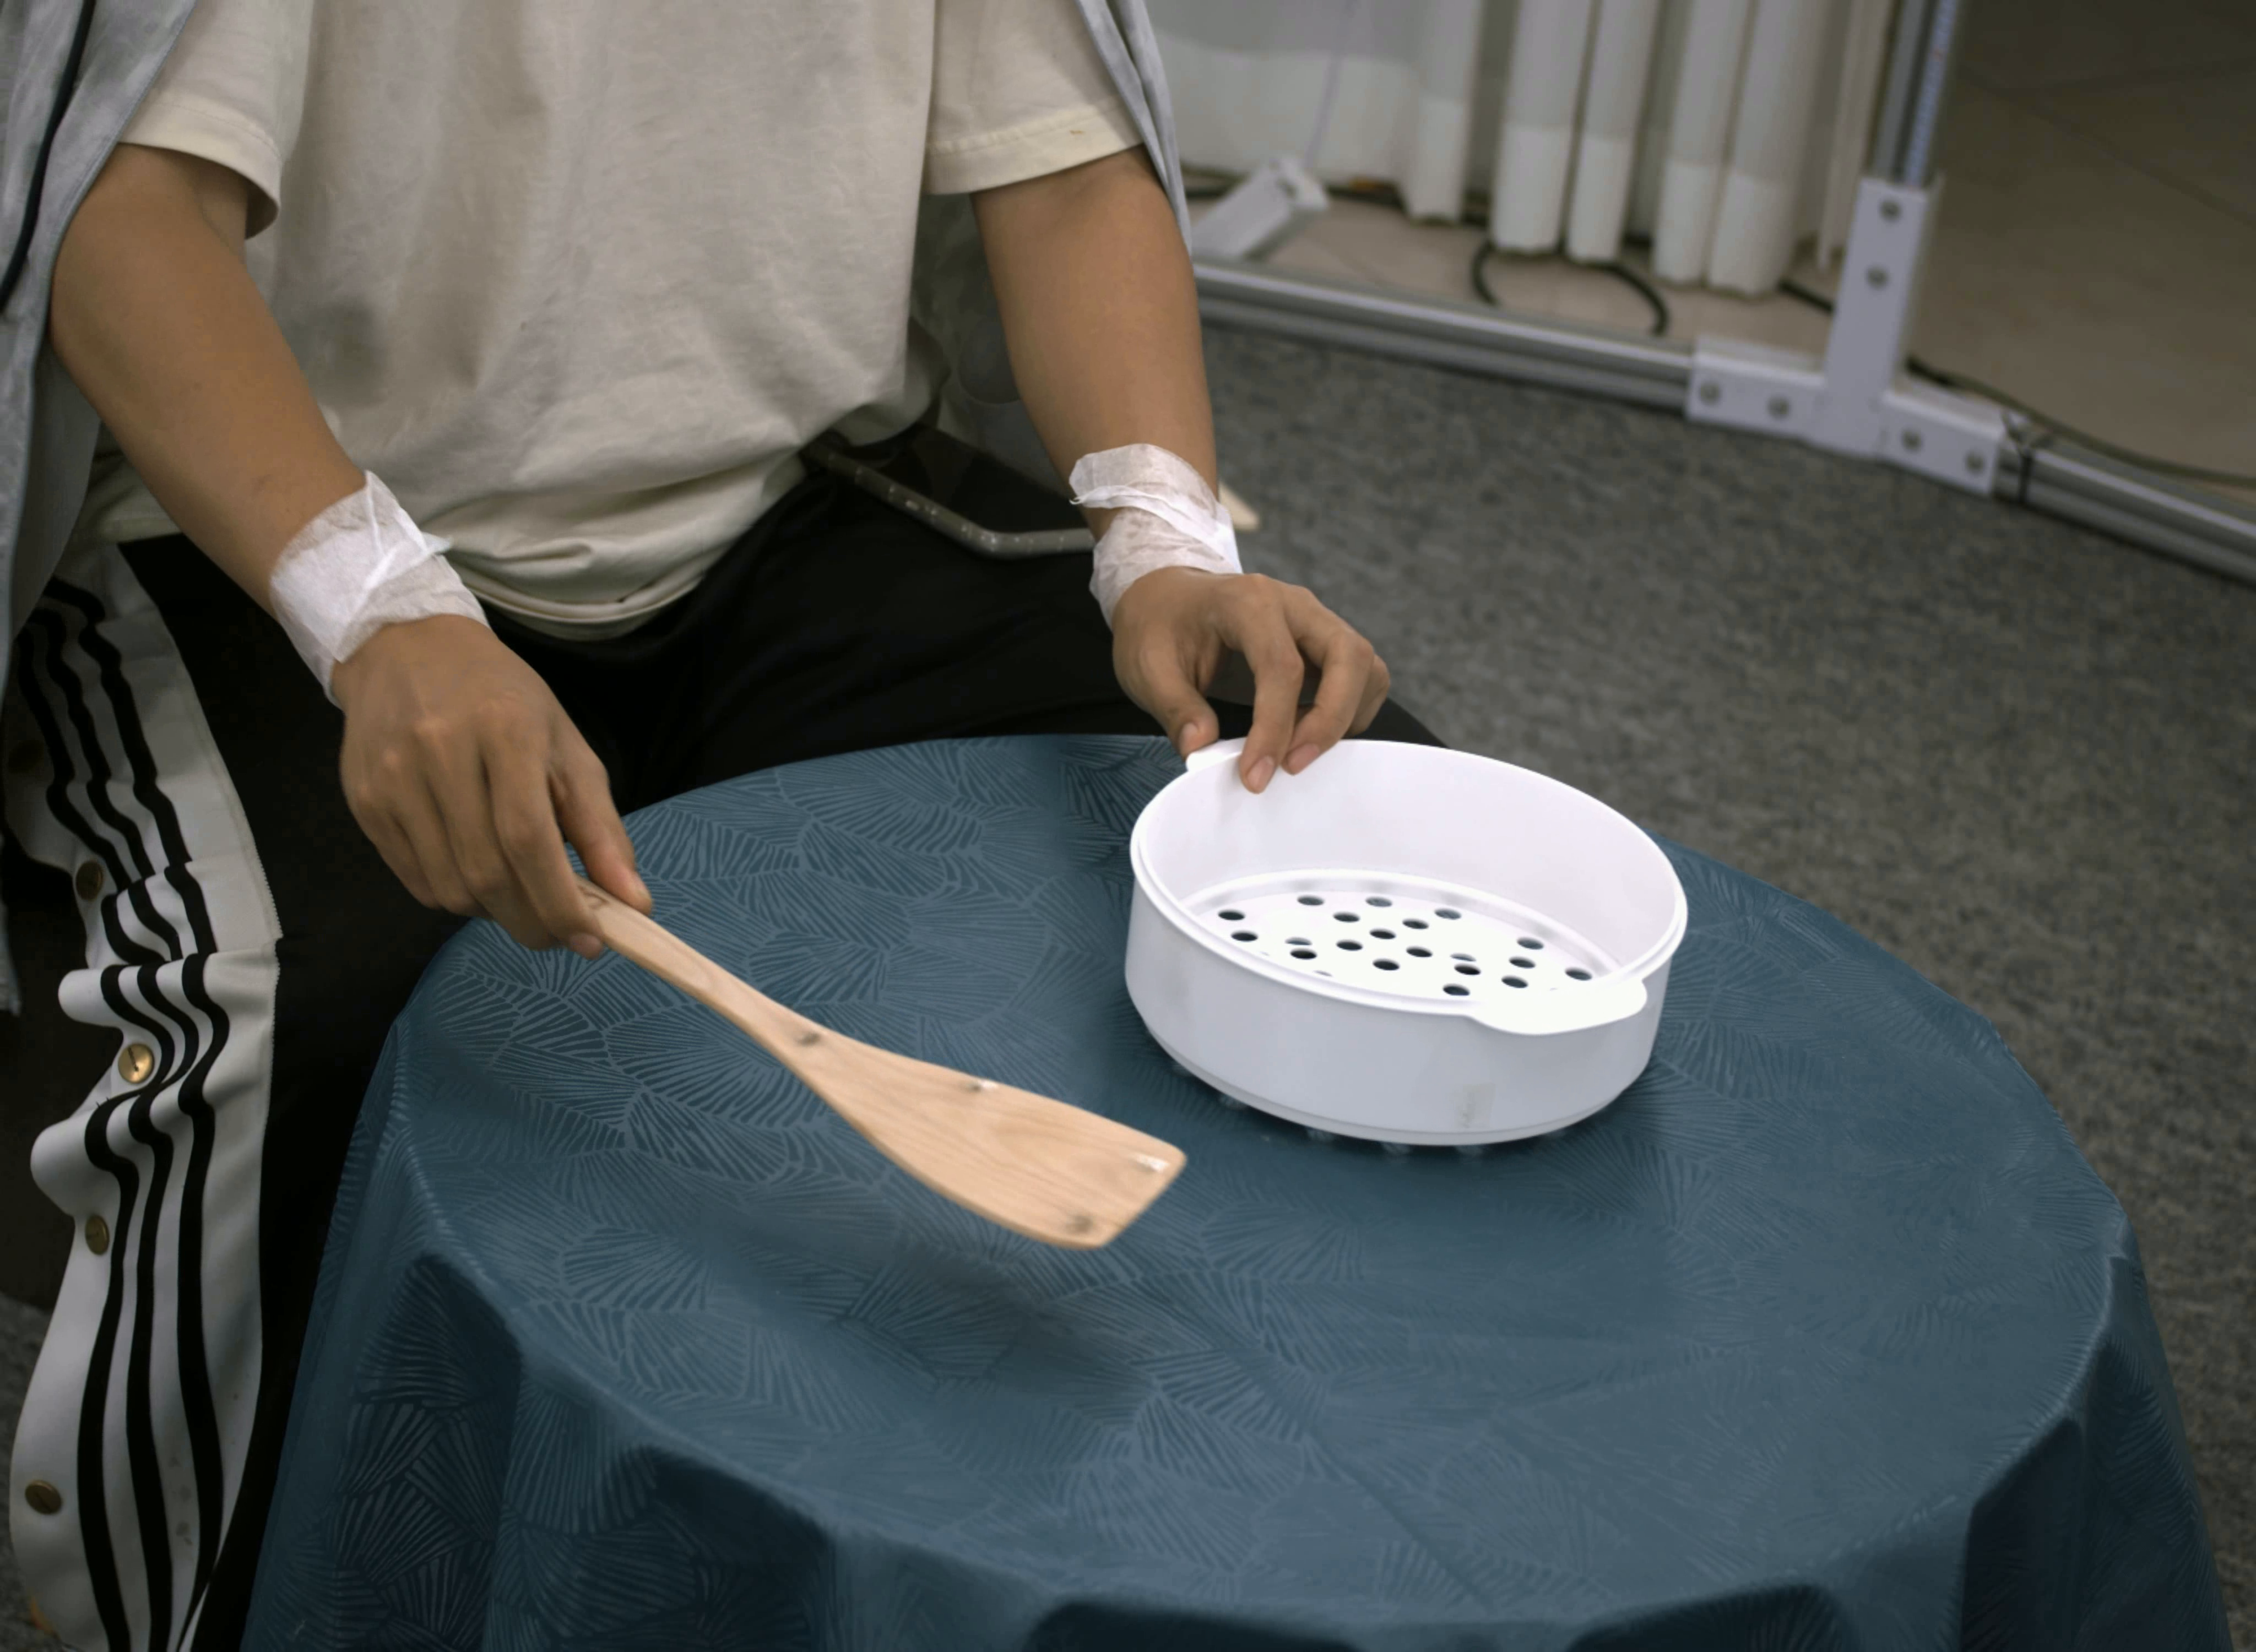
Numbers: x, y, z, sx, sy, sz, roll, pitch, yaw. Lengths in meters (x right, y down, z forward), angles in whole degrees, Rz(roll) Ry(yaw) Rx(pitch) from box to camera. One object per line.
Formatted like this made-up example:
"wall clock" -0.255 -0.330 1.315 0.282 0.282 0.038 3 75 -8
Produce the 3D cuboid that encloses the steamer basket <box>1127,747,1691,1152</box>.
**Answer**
"steamer basket" 0.098 0.046 1.909 0.200 0.069 0.232 -8 29 -29

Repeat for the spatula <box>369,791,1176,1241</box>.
"spatula" -0.125 0.056 1.757 0.329 0.016 0.079 28 31 26
